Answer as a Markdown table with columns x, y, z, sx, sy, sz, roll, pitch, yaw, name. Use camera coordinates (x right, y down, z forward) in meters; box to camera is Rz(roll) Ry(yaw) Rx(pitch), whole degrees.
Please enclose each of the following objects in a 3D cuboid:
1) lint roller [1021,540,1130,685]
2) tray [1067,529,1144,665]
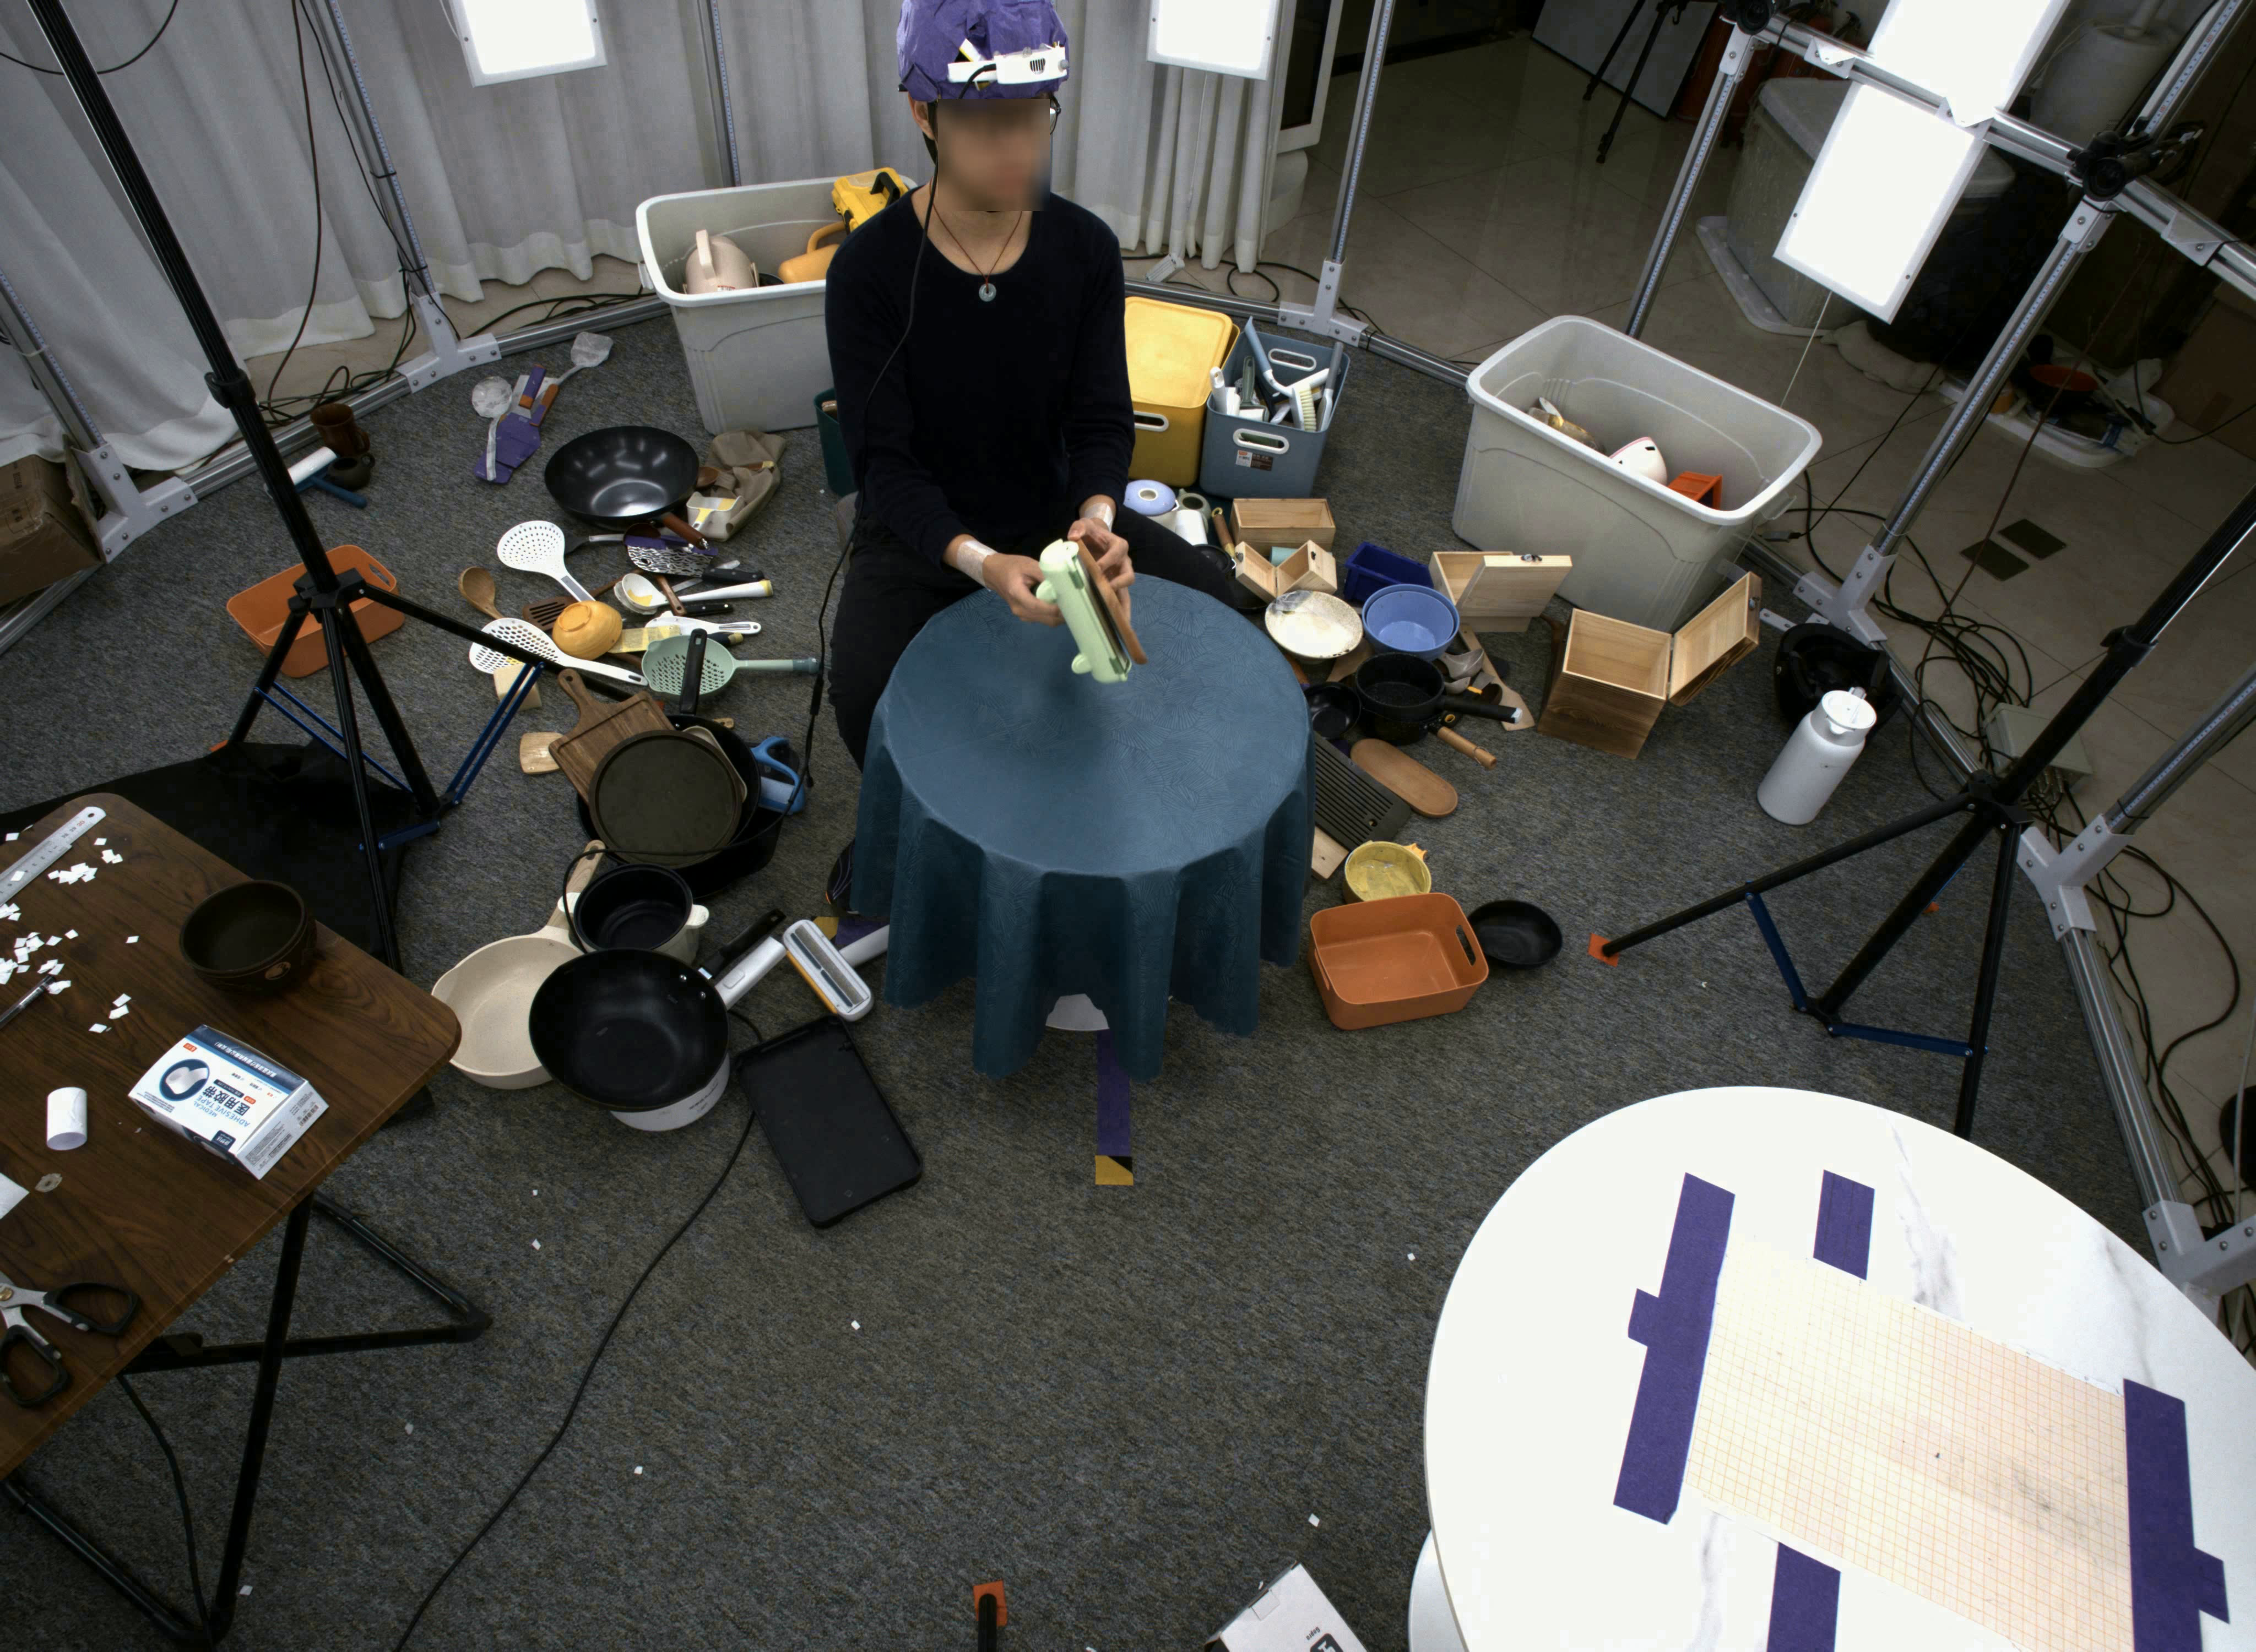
| x | y | z | sx | sy | sz | roll | pitch | yaw | name |
| --- | --- | --- | --- | --- | --- | --- | --- | --- | --- |
| -0.096 | -0.274 | 1.645 | 0.185 | 0.194 | 0.083 | 21 | 58 | 45 | lint roller |
| -0.032 | -0.298 | 1.661 | 0.023 | 0.128 | 0.256 | -25 | 29 | 0 | tray |
